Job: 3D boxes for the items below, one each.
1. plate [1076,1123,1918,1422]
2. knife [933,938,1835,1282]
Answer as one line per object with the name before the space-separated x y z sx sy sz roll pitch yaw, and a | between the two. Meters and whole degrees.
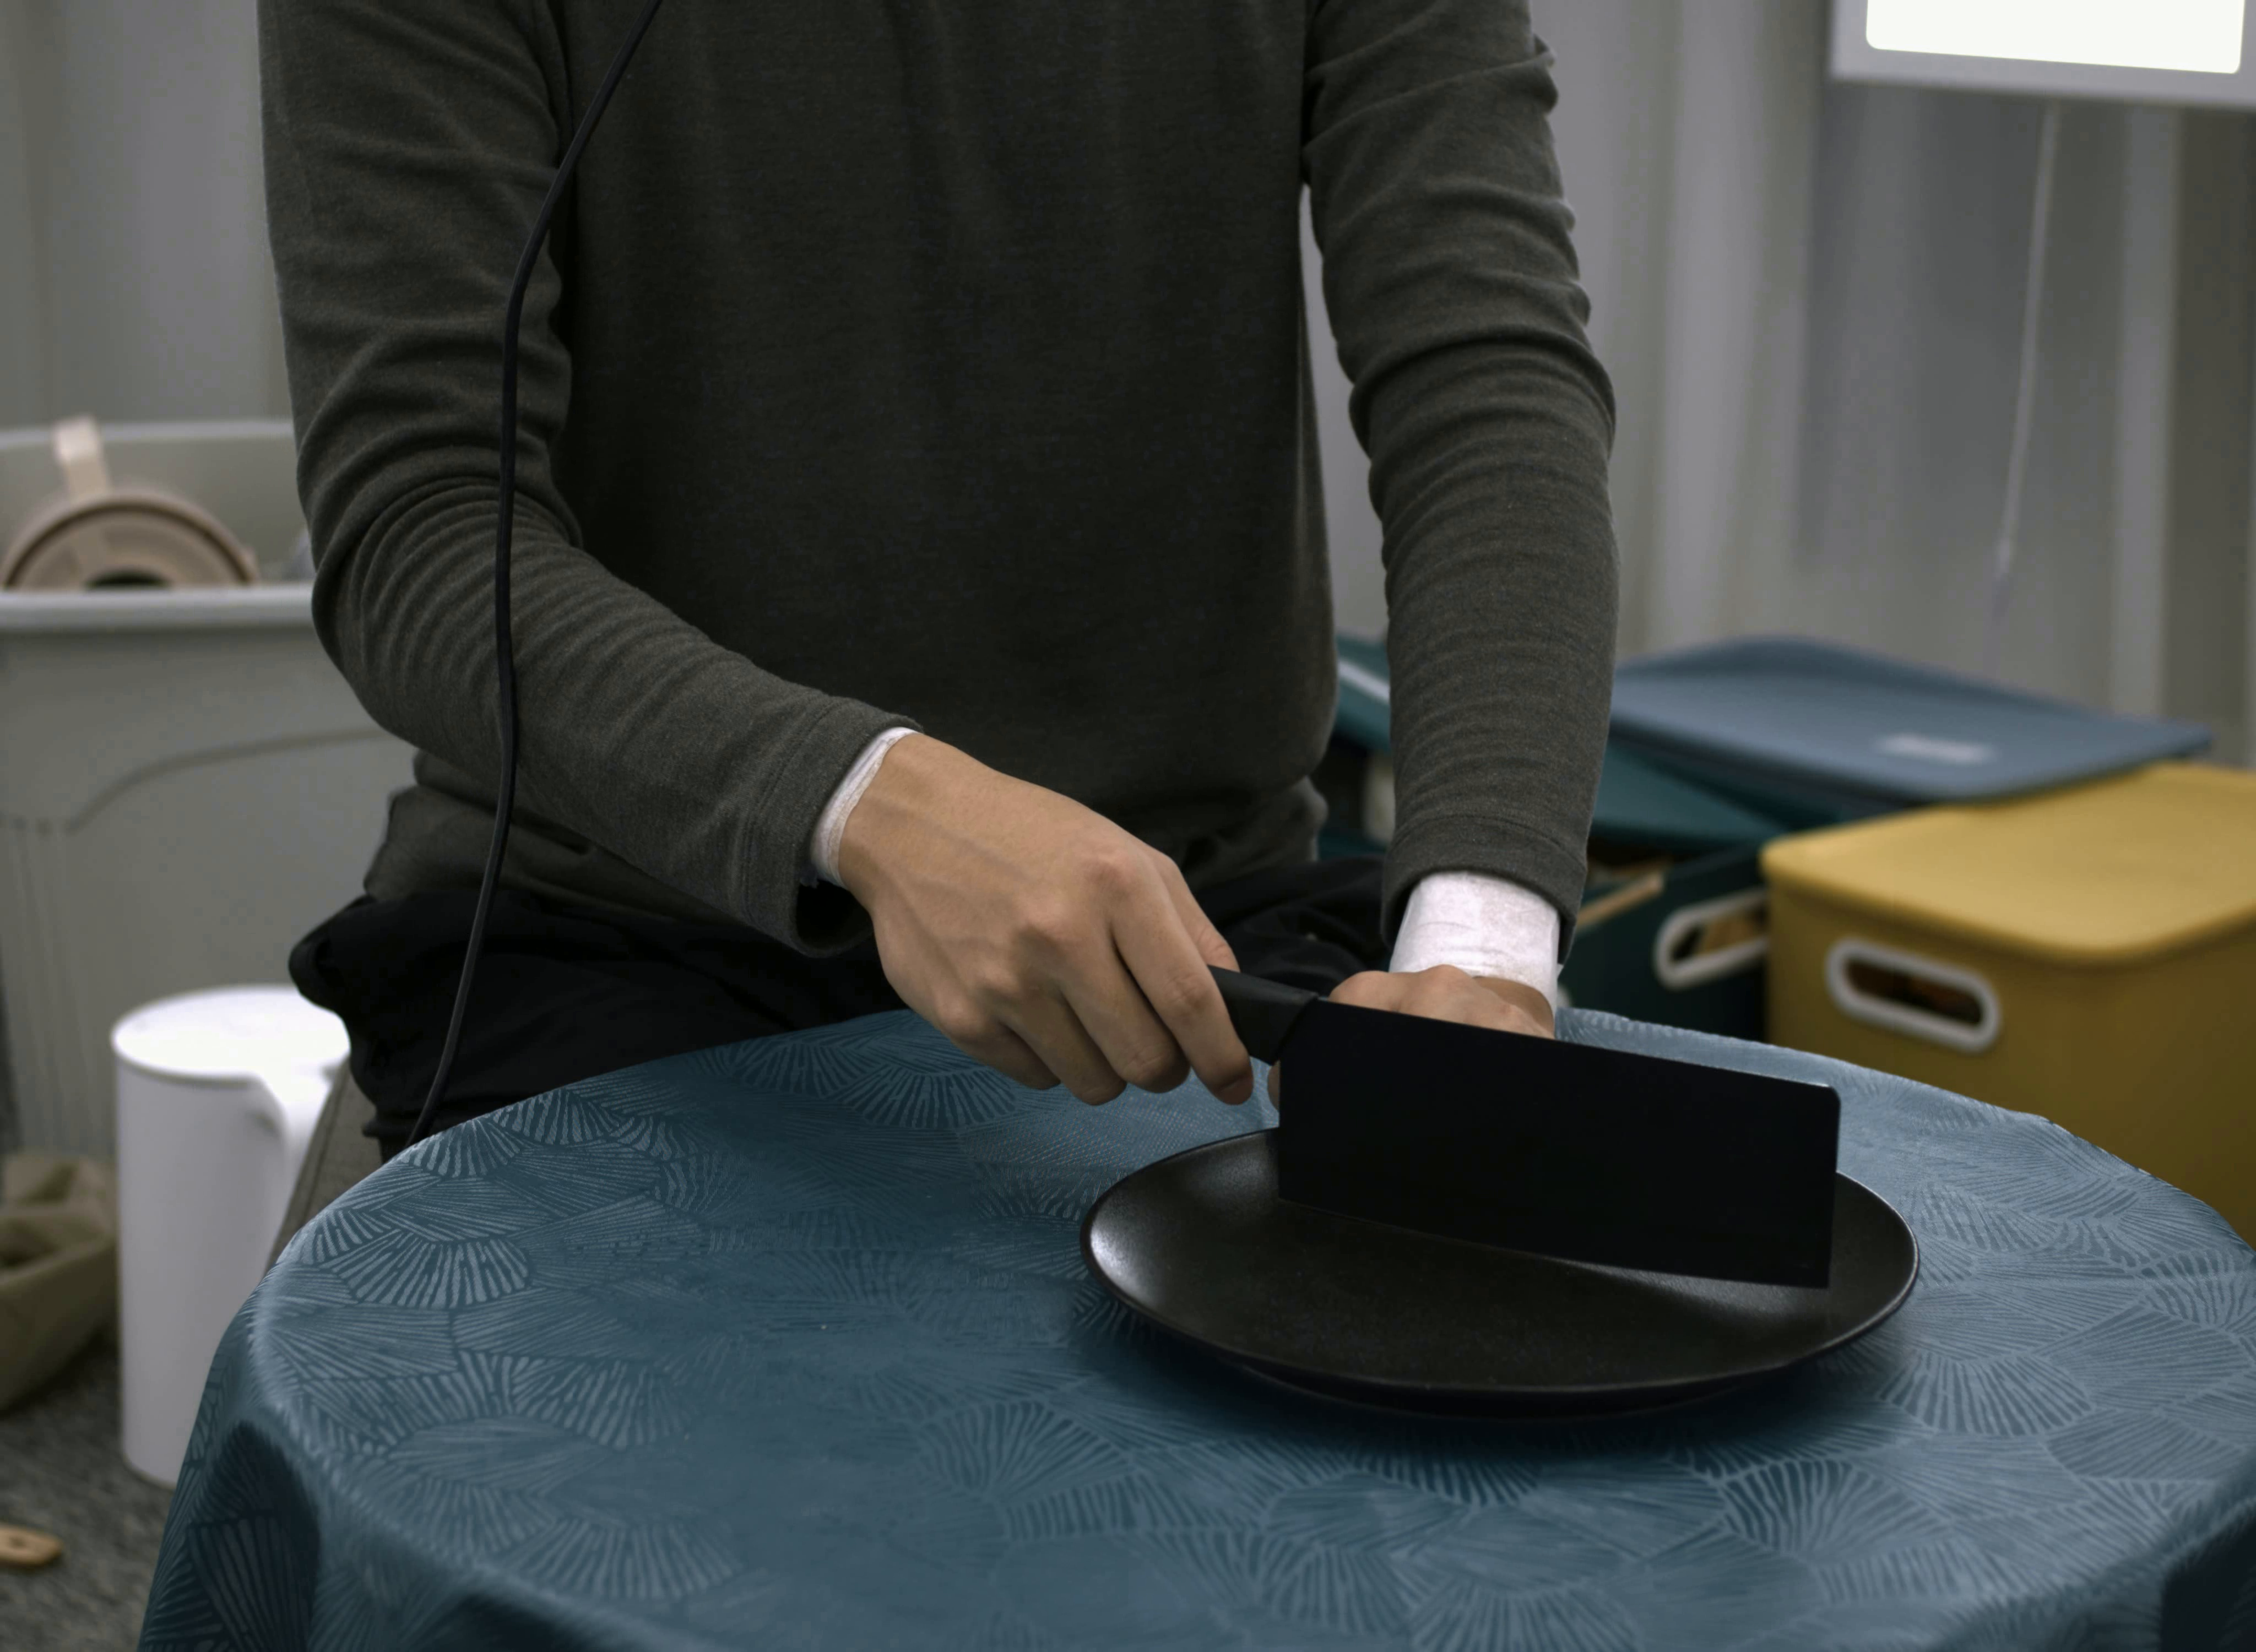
plate | 0.106 0.129 1.526 0.243 0.023 0.243 1 15 0
knife | 0.072 0.080 1.563 0.299 0.081 0.021 13 18 27
